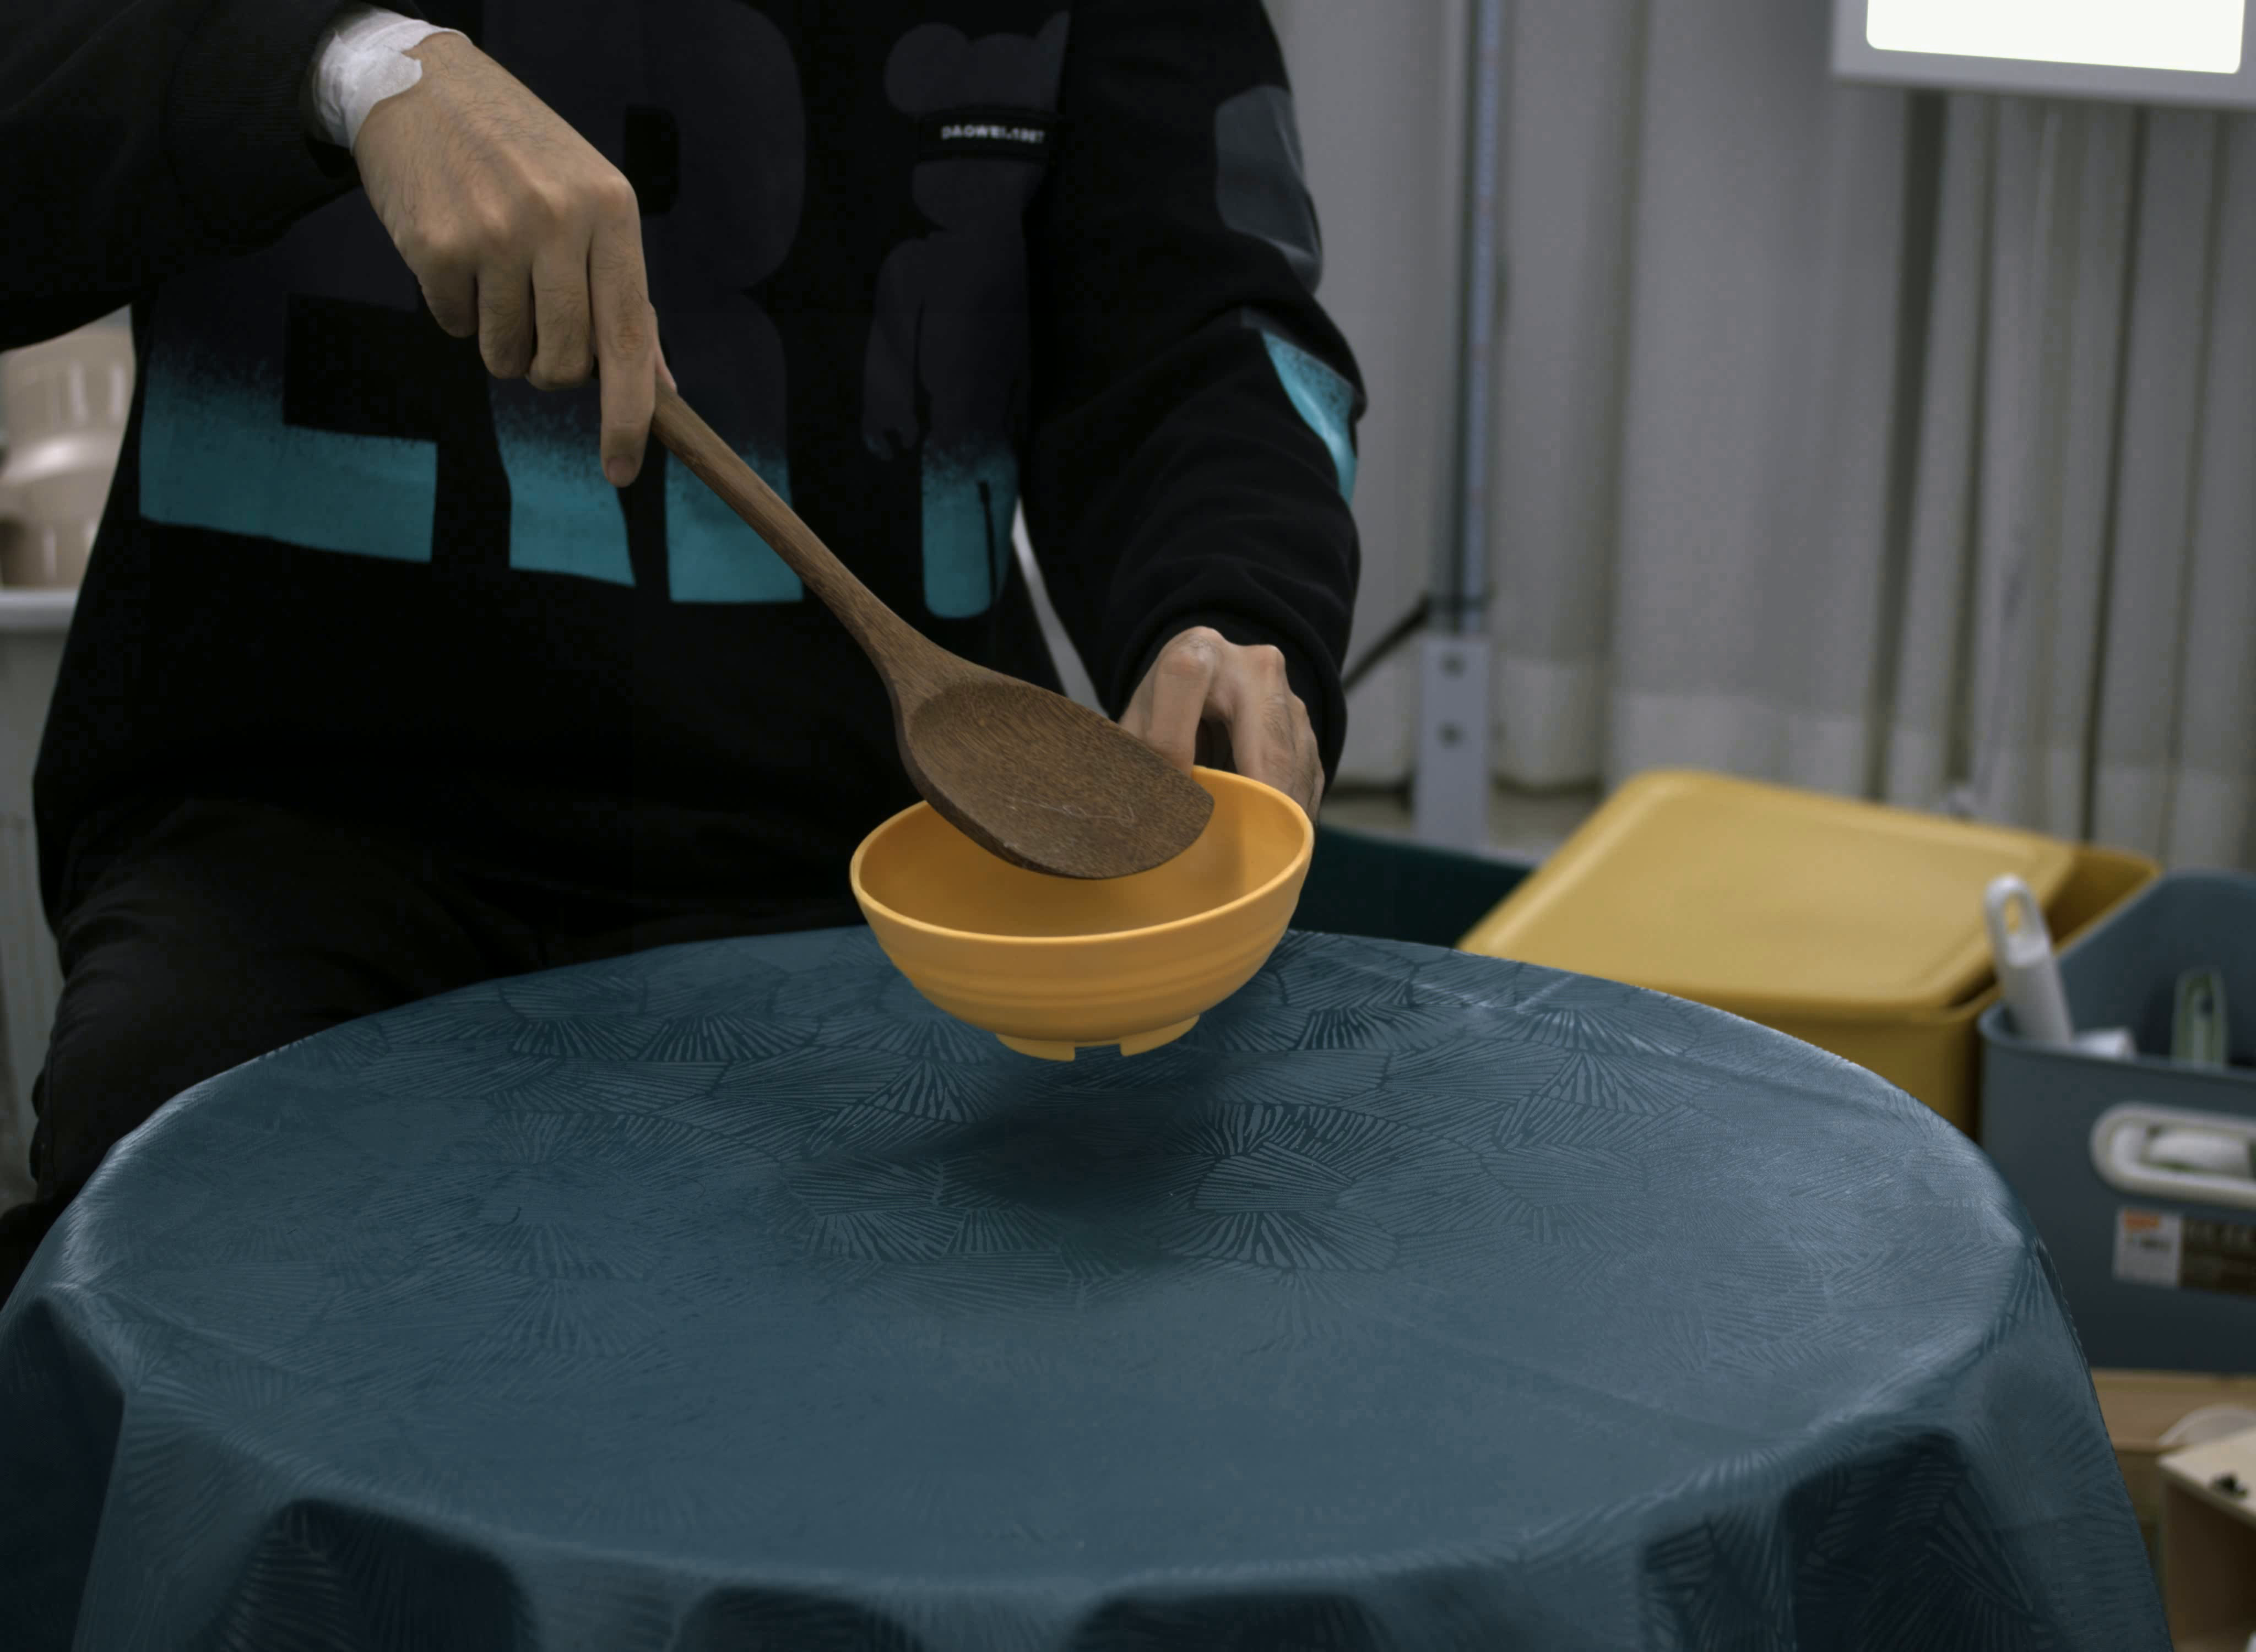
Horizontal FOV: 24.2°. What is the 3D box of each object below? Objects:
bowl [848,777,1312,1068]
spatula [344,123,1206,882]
[{"bbox_3d":[-0.014,0.035,1.645,0.145,0.061,0.144,-2,21,1],"label":"bowl"},{"bbox_3d":[-0.126,-0.111,1.691,0.382,0.016,0.096,44,36,18],"label":"spatula"}]
